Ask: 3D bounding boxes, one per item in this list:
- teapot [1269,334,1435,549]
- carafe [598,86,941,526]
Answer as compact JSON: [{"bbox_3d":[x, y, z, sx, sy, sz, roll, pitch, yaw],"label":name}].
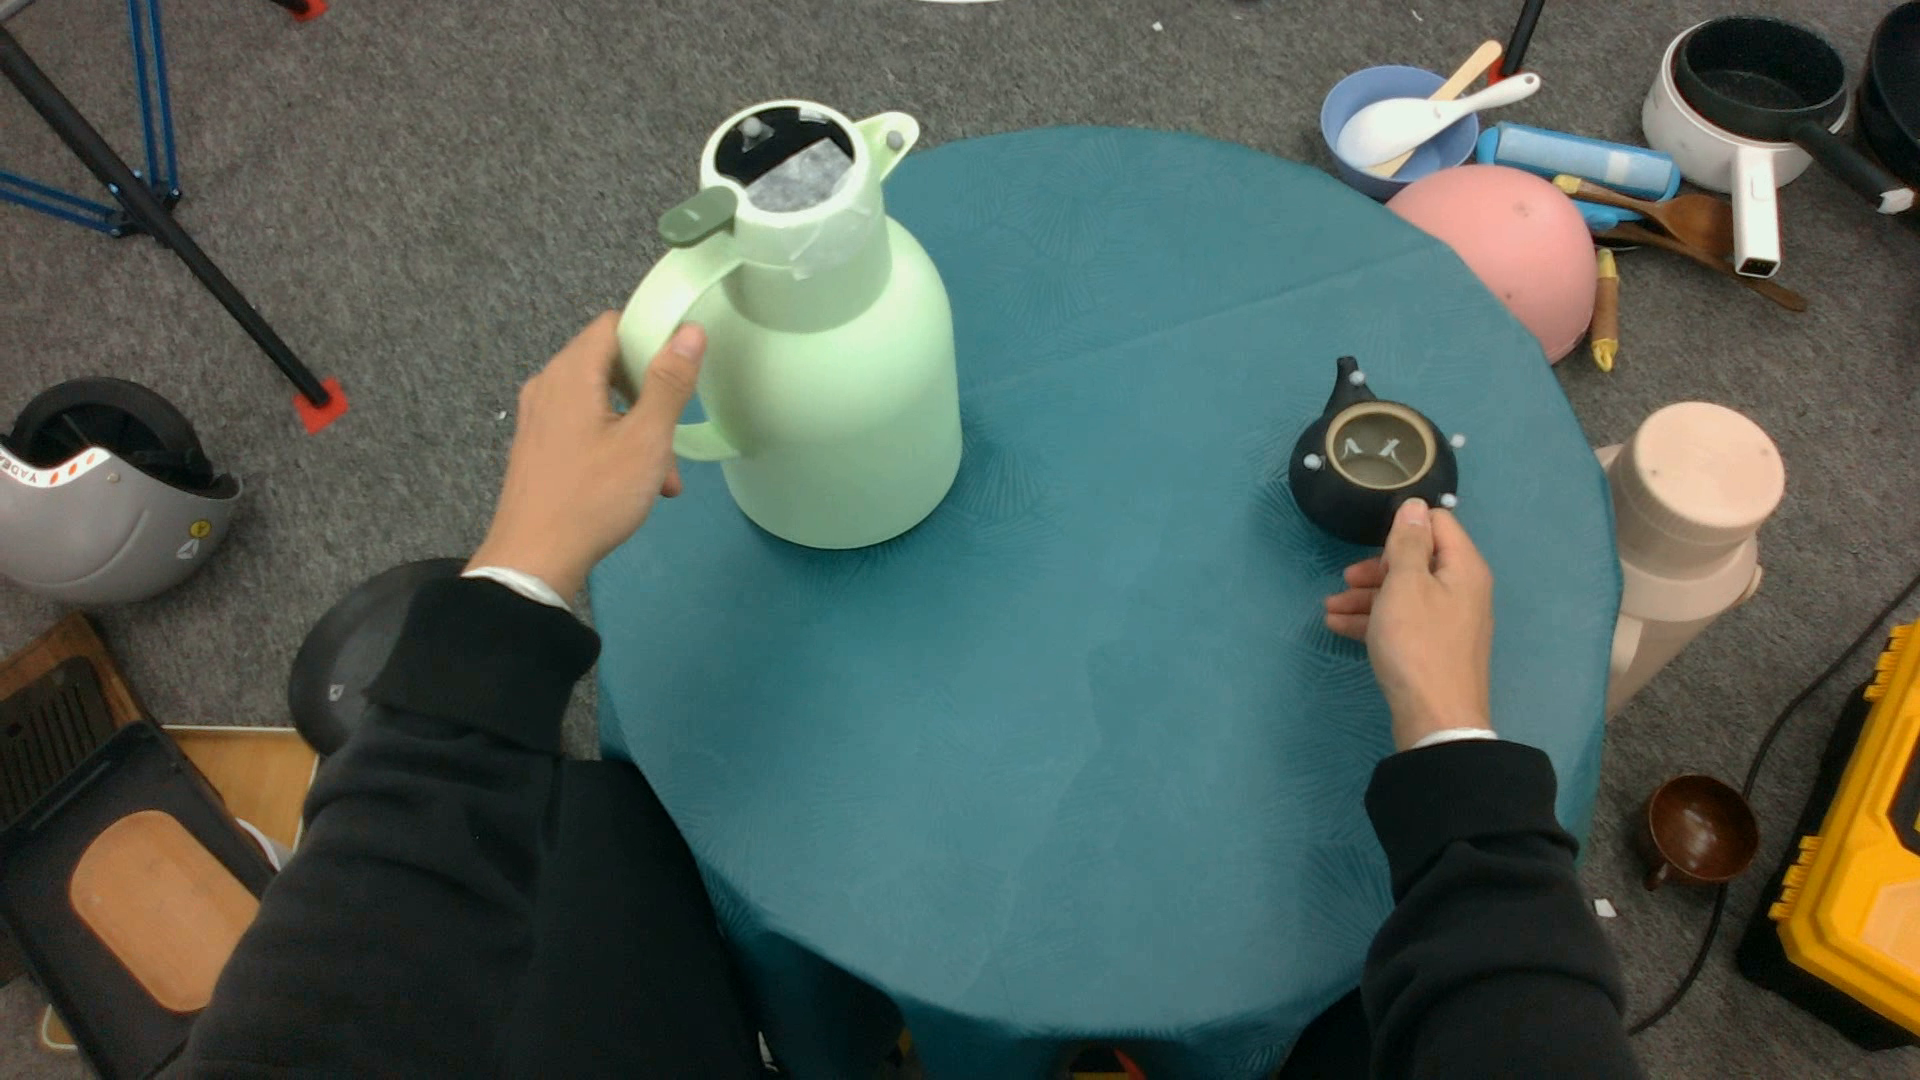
[{"bbox_3d":[0.220,-0.051,0.773,0.091,0.053,0.133,-12,59,1],"label":"teapot"},{"bbox_3d":[-0.095,-0.112,0.720,0.187,0.256,0.144,-42,71,-15],"label":"carafe"}]
